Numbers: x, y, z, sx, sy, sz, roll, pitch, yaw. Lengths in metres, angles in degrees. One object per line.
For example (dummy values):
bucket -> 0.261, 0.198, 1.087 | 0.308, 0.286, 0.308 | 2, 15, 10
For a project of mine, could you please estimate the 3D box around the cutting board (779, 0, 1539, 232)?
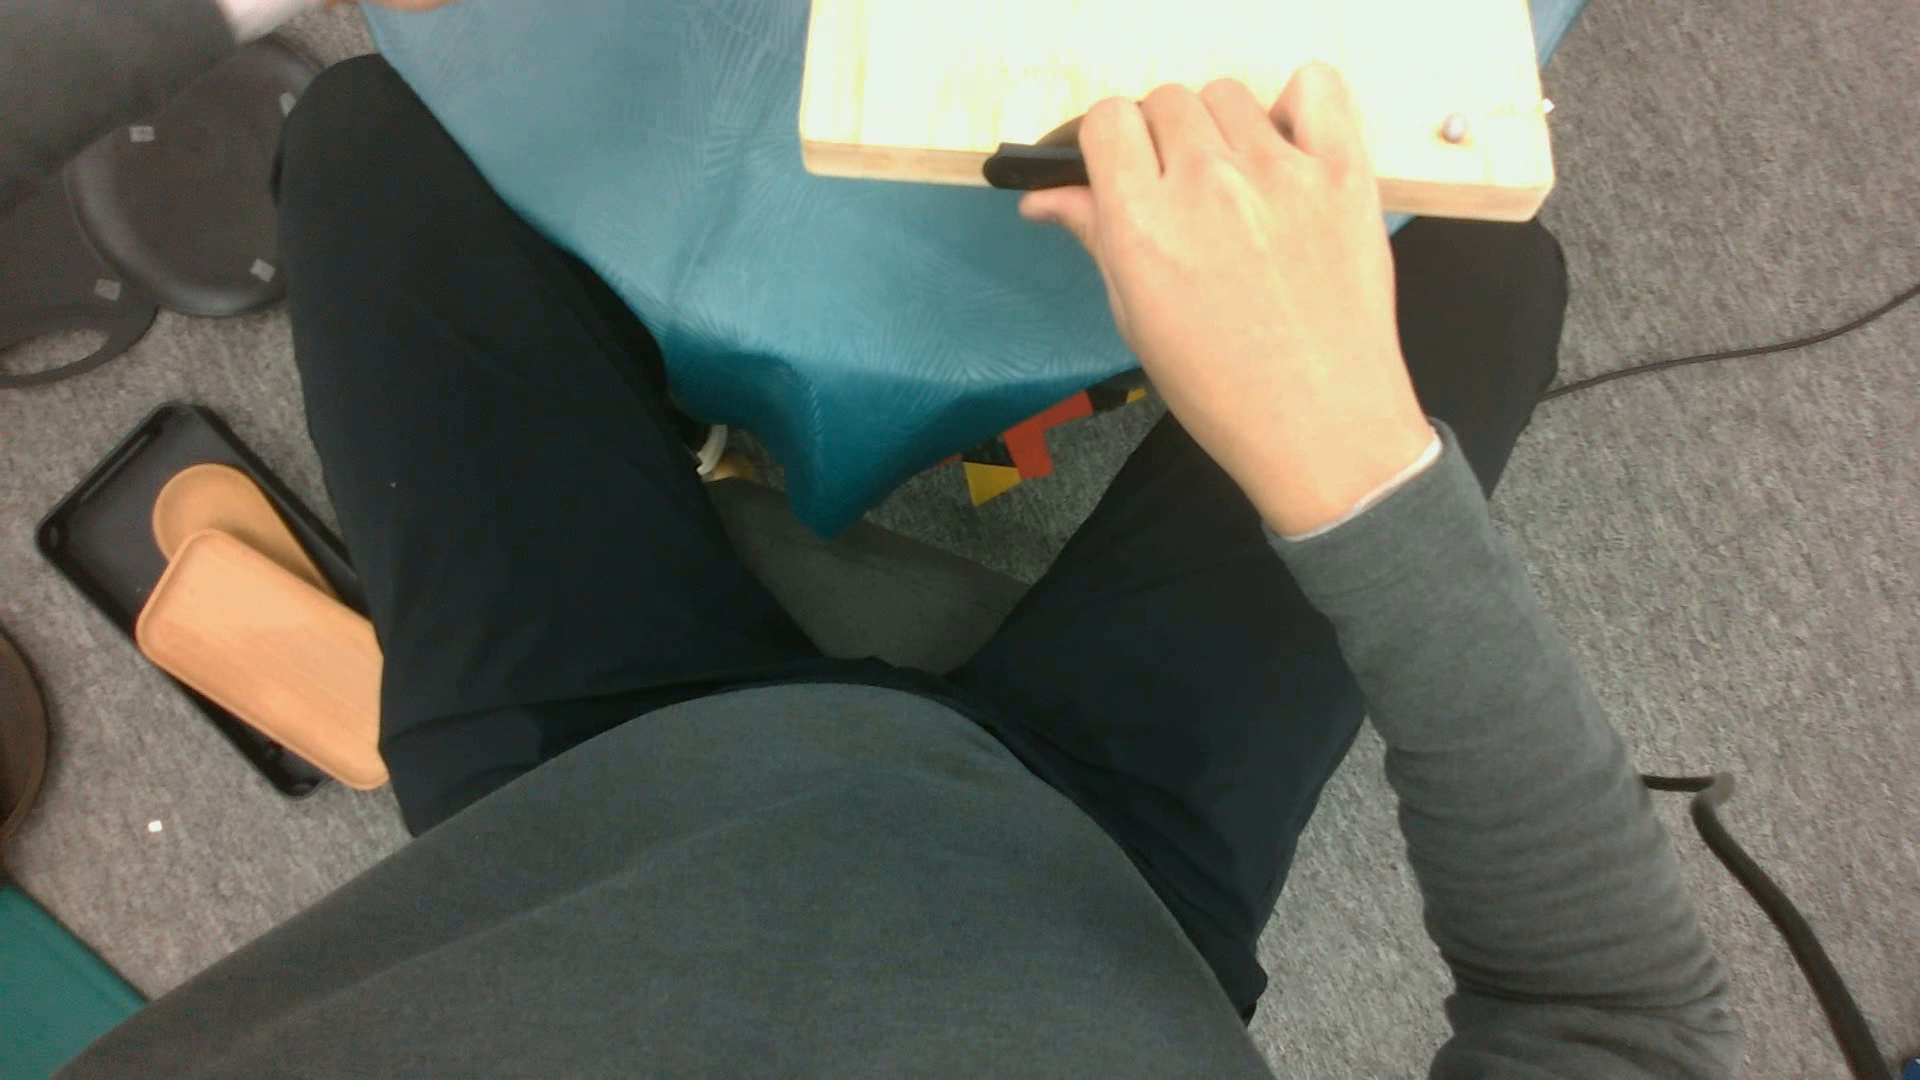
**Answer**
cutting board -> 0.073, -0.268, 0.512 | 0.251, 0.023, 0.350 | 3, 66, -1
